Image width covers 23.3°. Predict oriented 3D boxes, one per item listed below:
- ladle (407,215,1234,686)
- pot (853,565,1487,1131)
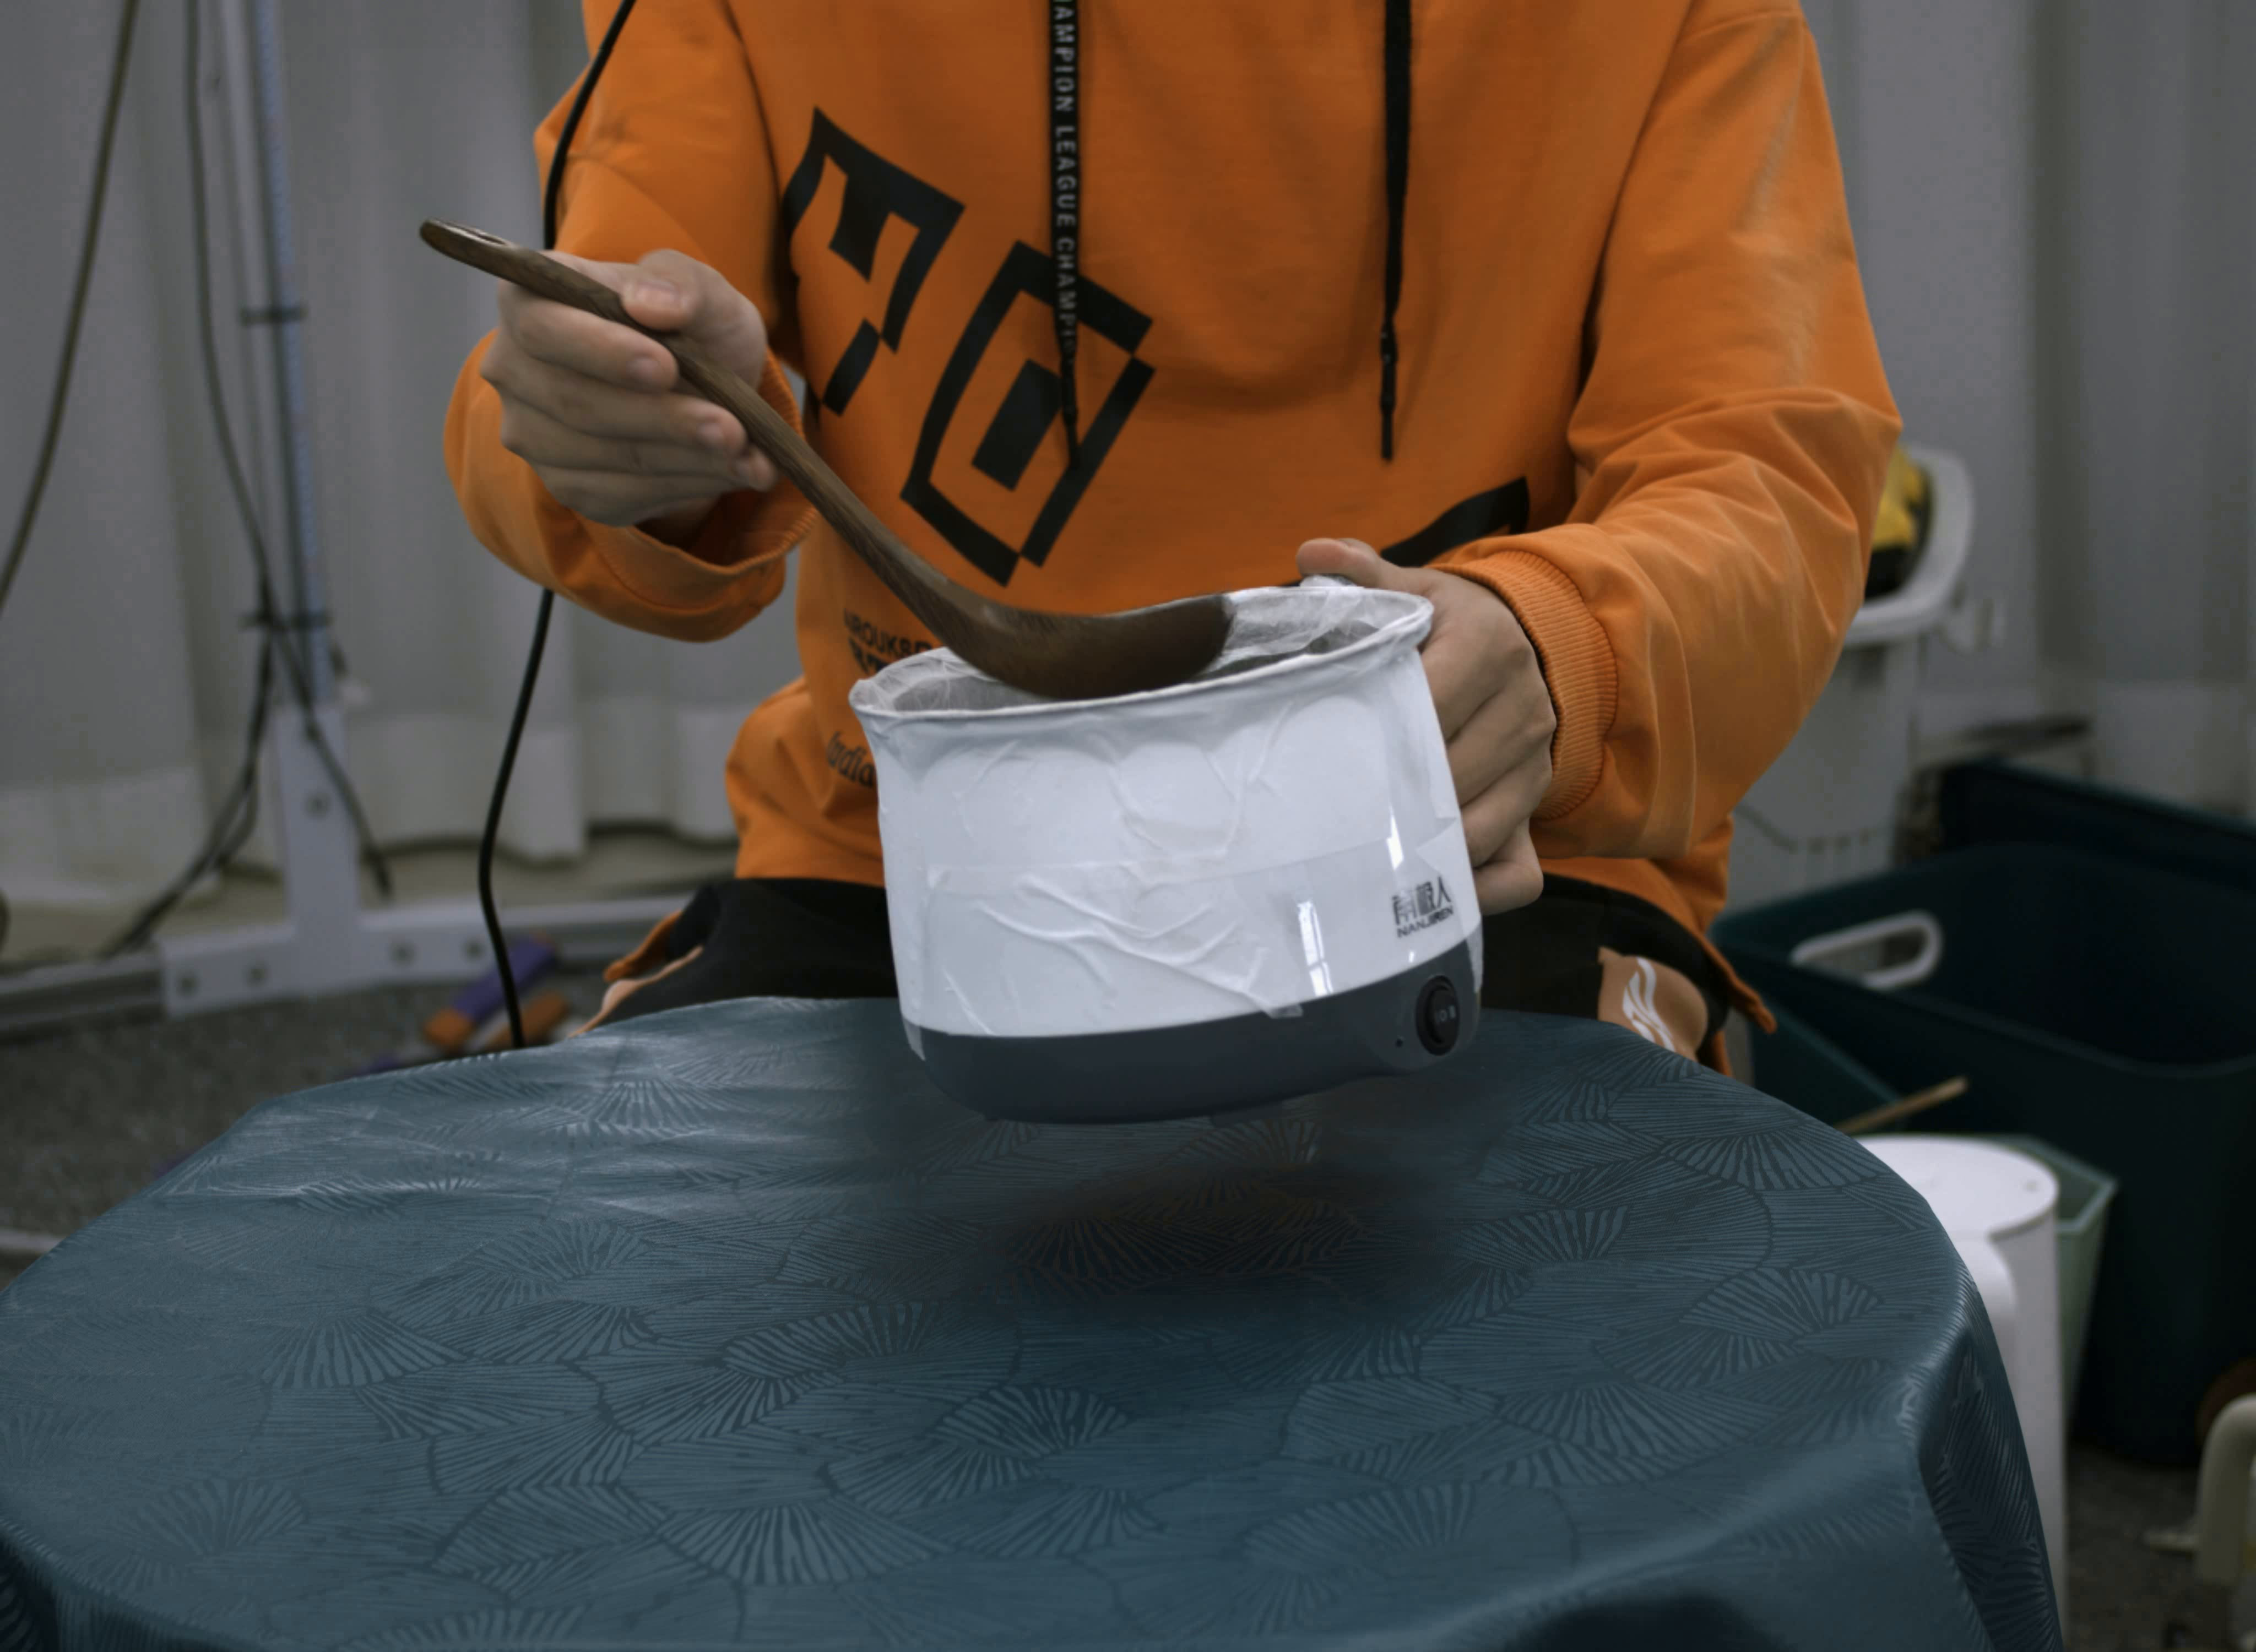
[{"bbox_3d":[-0.091,-0.128,1.645,0.275,0.071,0.076,38,10,9],"label":"ladle"},{"bbox_3d":[0.030,0.003,1.659,0.179,0.136,0.234,-2,13,35],"label":"pot"}]
